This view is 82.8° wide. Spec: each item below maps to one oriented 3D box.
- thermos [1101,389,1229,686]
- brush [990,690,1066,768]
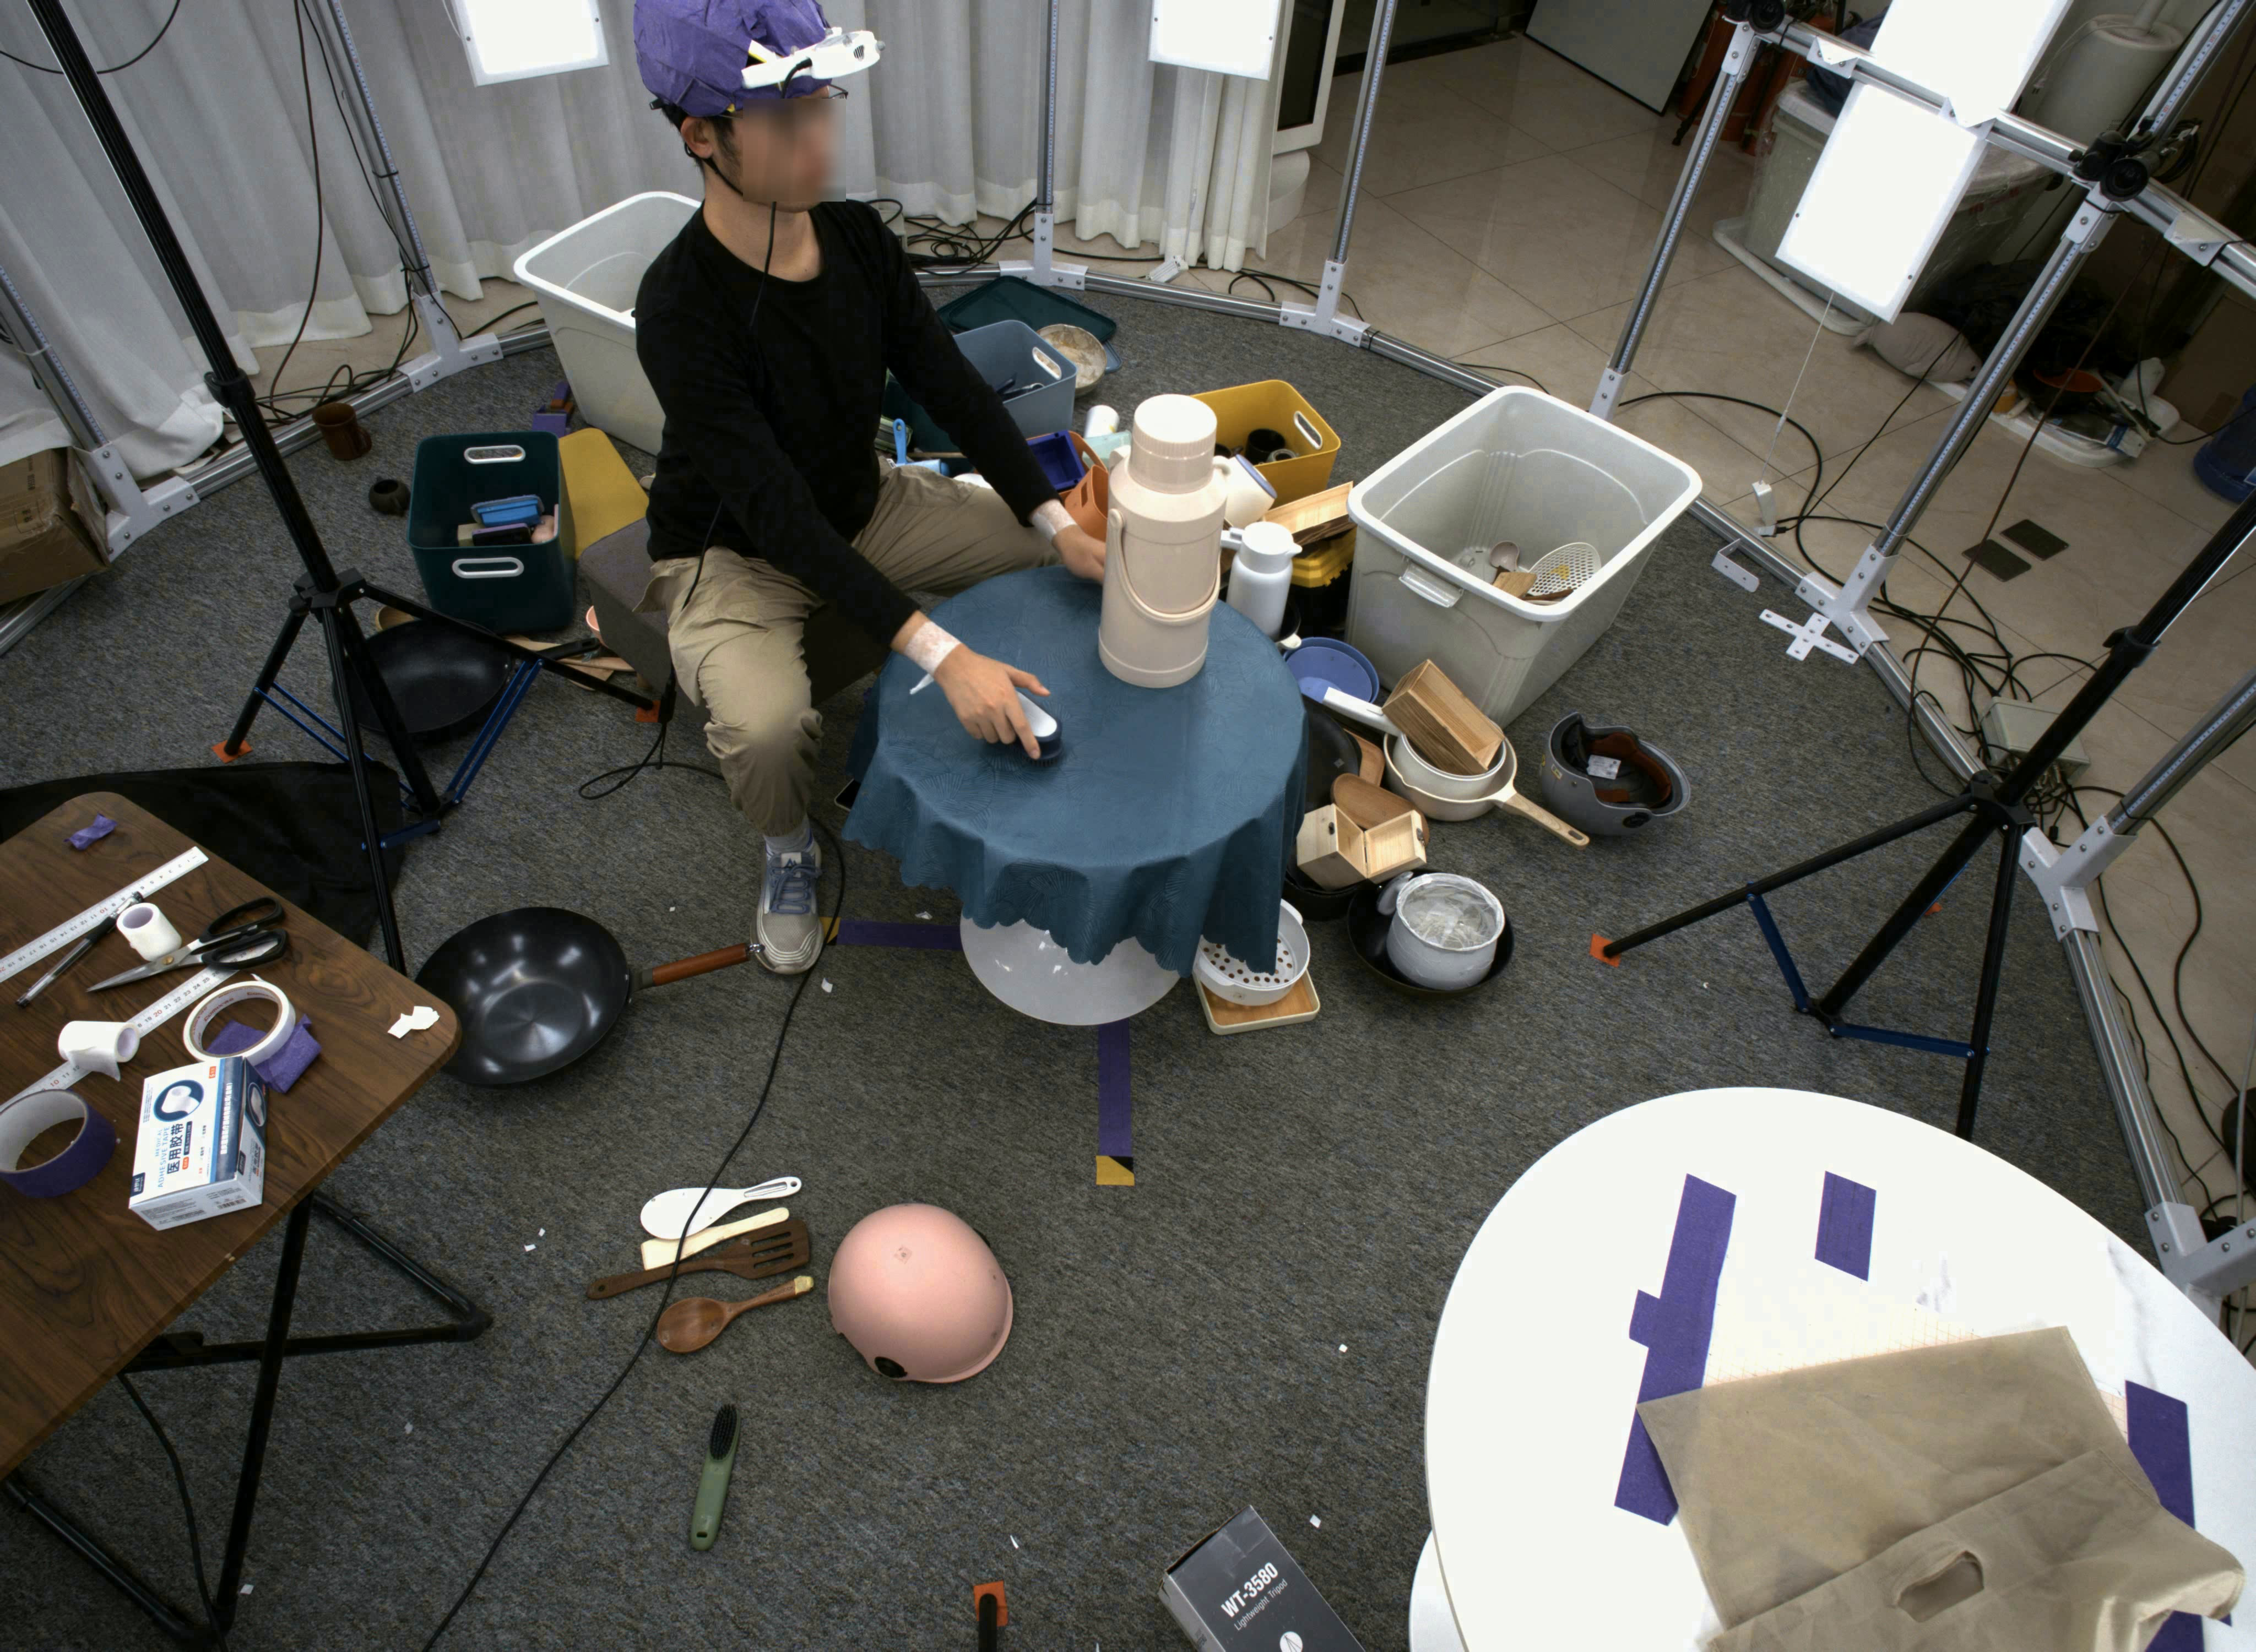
[{"bbox_3d":[0.042,-0.395,1.759,0.176,0.396,0.211,-28,57,-23],"label":"thermos"},{"bbox_3d":[-0.136,-0.130,1.739,0.068,0.060,0.123,-32,60,-28],"label":"brush"}]
